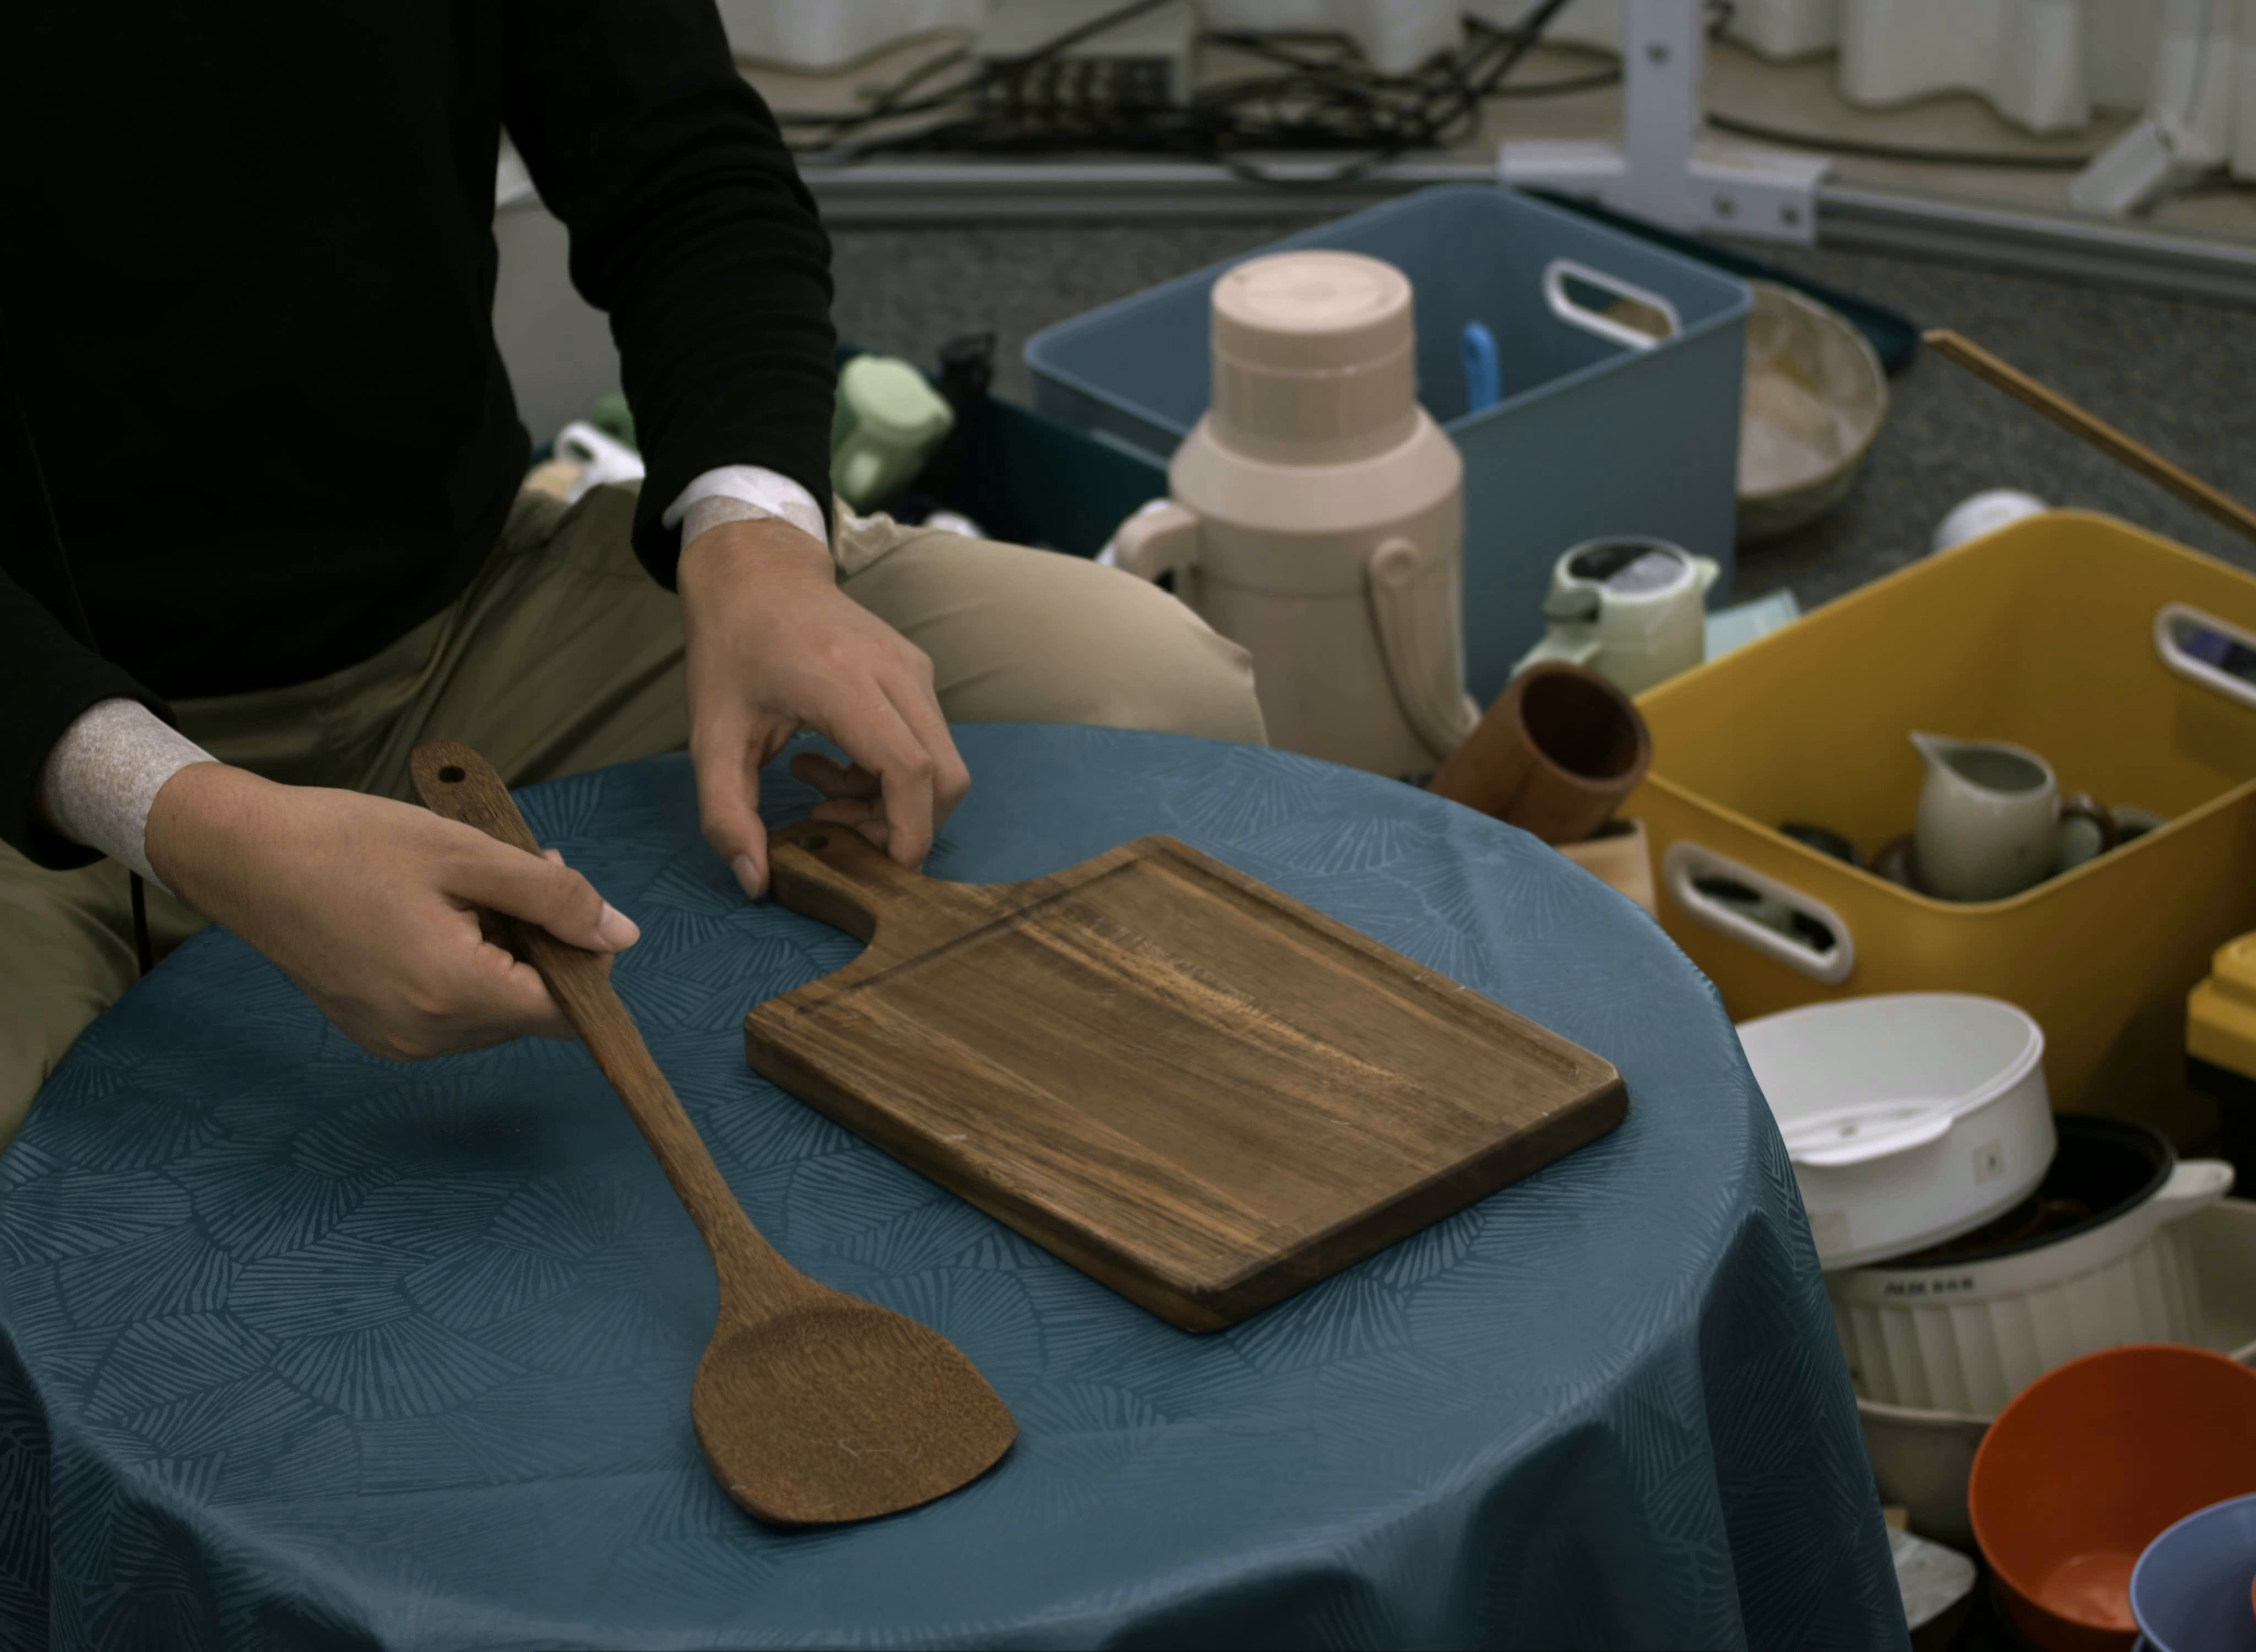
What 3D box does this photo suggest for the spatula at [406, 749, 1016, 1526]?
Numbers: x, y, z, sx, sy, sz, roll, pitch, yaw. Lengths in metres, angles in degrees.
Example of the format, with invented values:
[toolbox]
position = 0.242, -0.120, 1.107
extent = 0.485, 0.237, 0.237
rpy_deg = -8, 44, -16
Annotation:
[spatula]
position = -0.156, 0.091, 1.829
extent = 0.096, 0.015, 0.390
rpy_deg = -14, 45, -24

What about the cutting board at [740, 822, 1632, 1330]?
[cutting board]
position = -0.014, 0.065, 1.948
extent = 0.203, 0.023, 0.352
rpy_deg = -23, 33, -34
